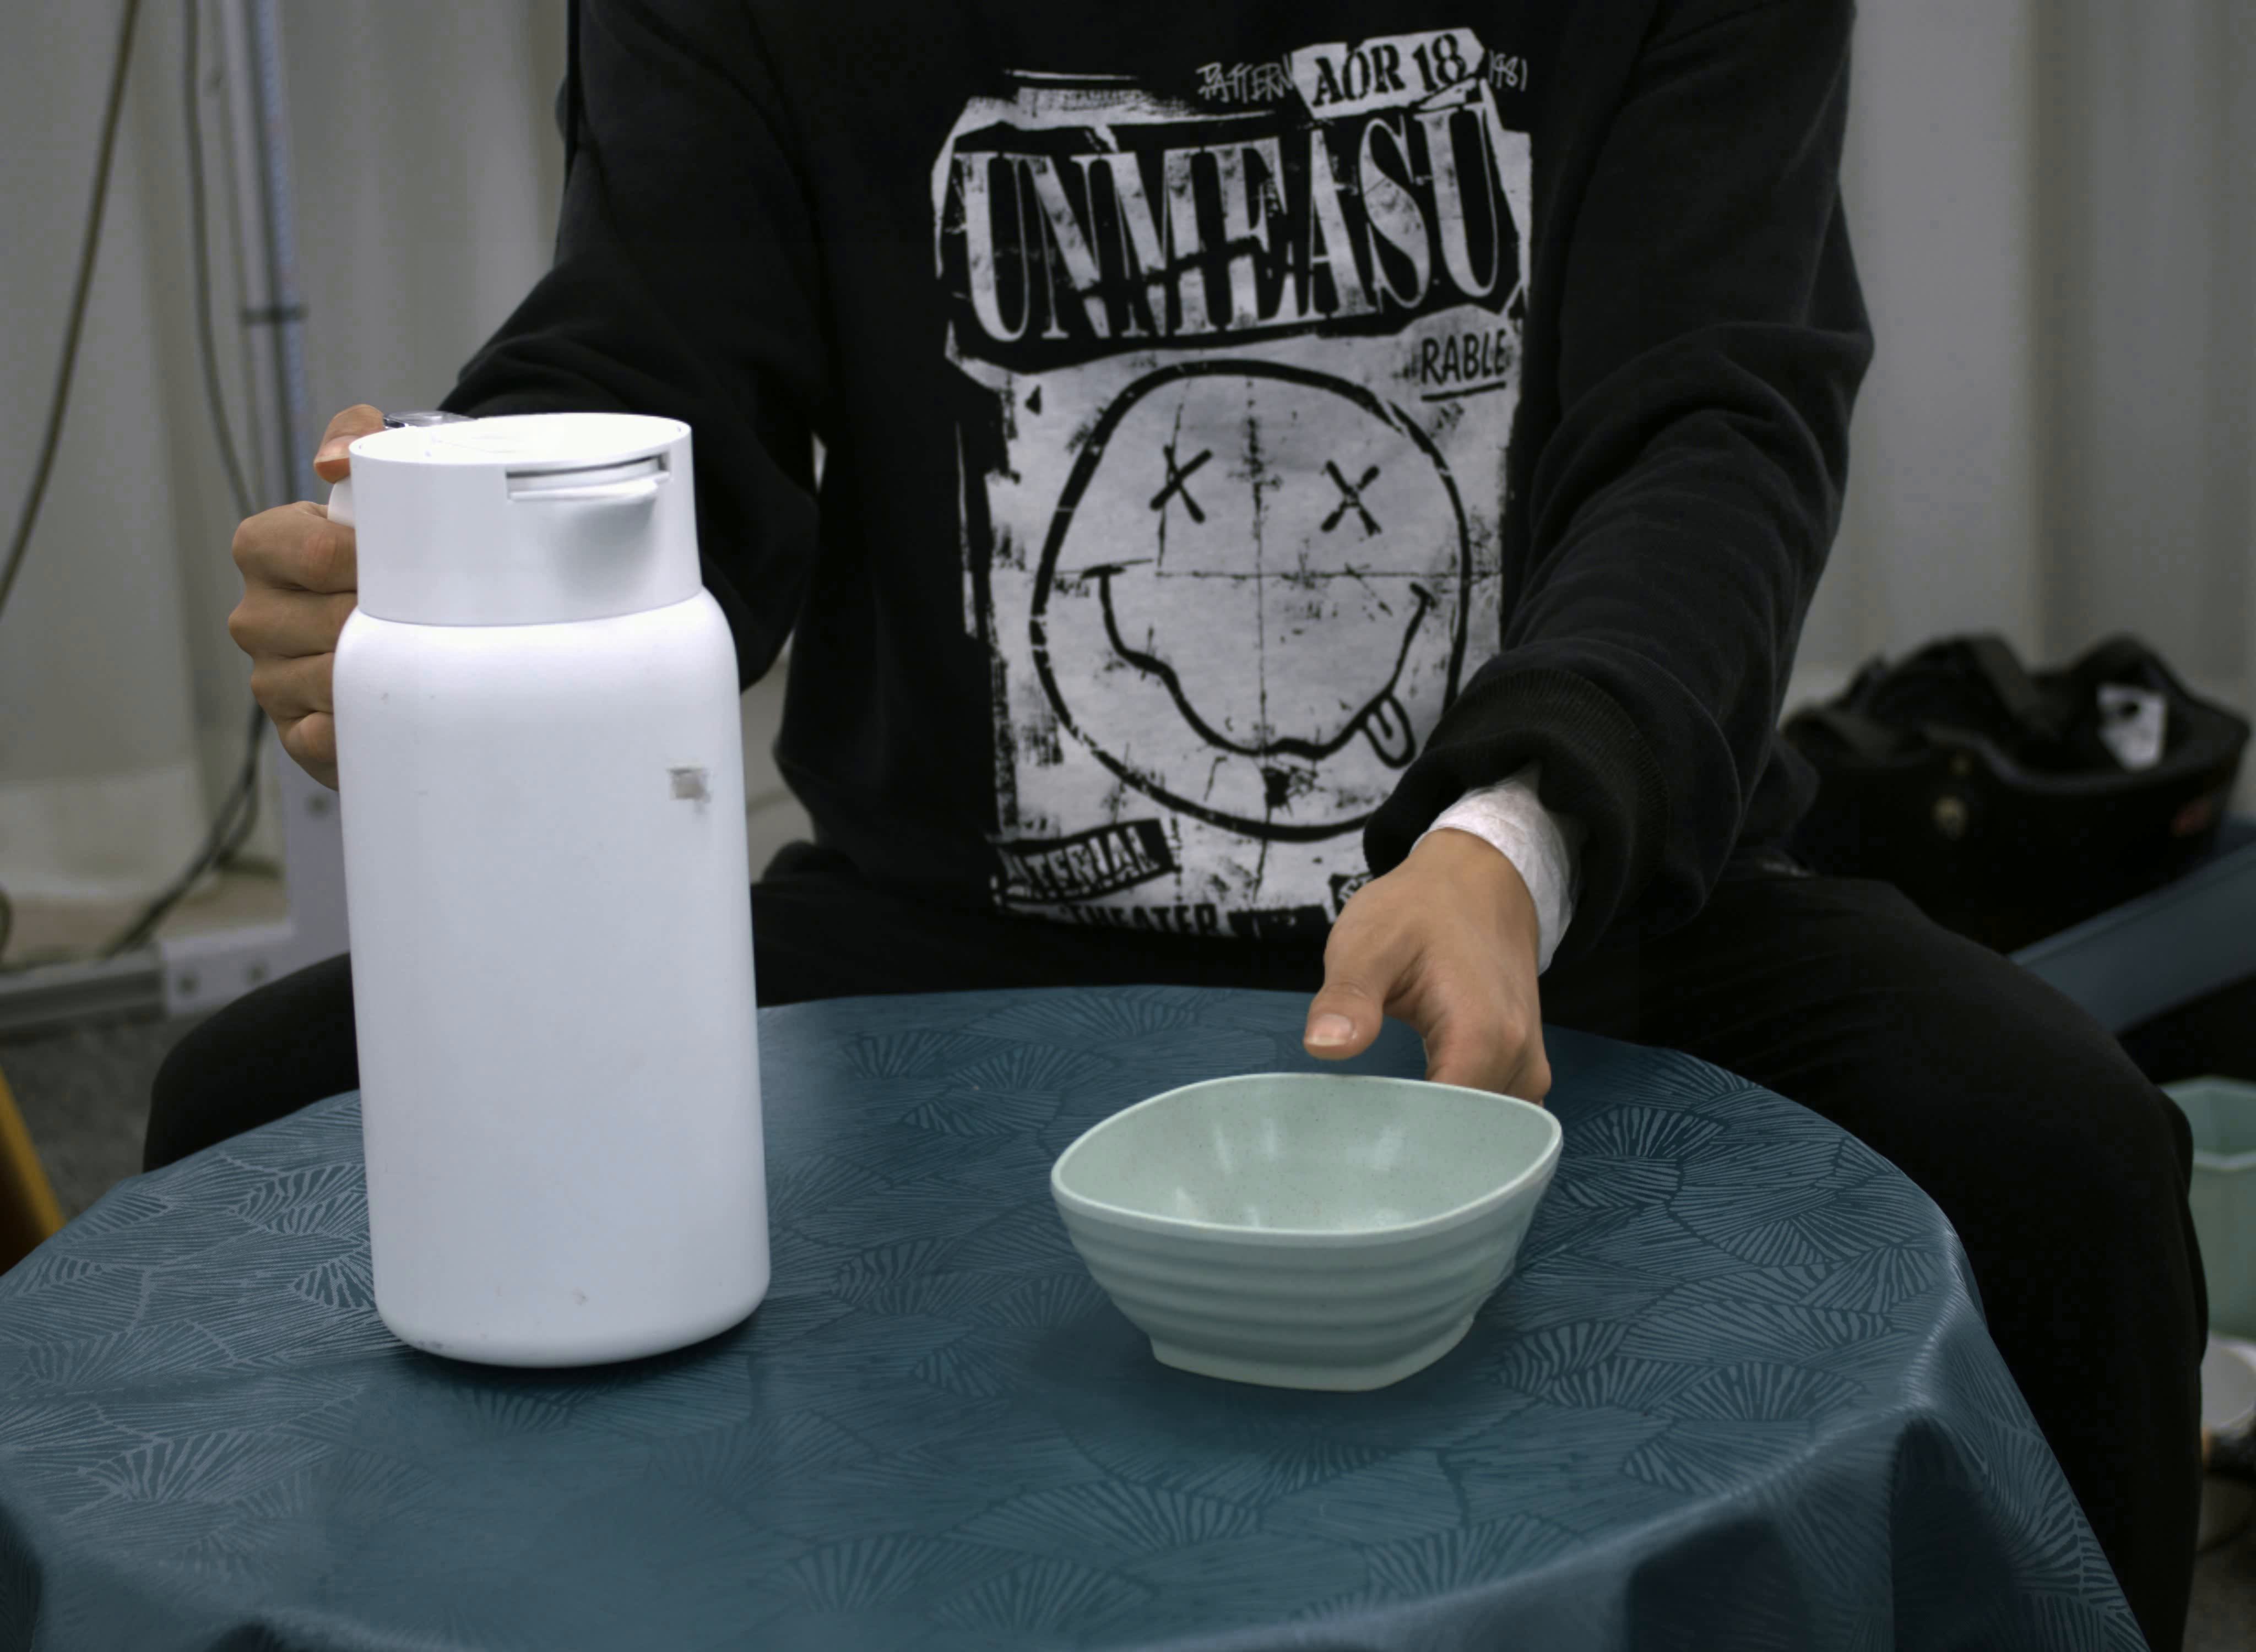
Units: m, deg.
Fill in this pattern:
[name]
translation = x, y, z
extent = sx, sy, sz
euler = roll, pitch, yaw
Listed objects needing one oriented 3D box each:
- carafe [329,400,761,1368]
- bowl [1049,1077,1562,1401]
[carafe]
translation = -0.180, 0.013, 1.609
extent = 0.123, 0.268, 0.174
euler = -11, 14, -34
[bowl]
translation = 0.052, 0.122, 1.573
extent = 0.151, 0.058, 0.152
euler = -2, 15, 0
